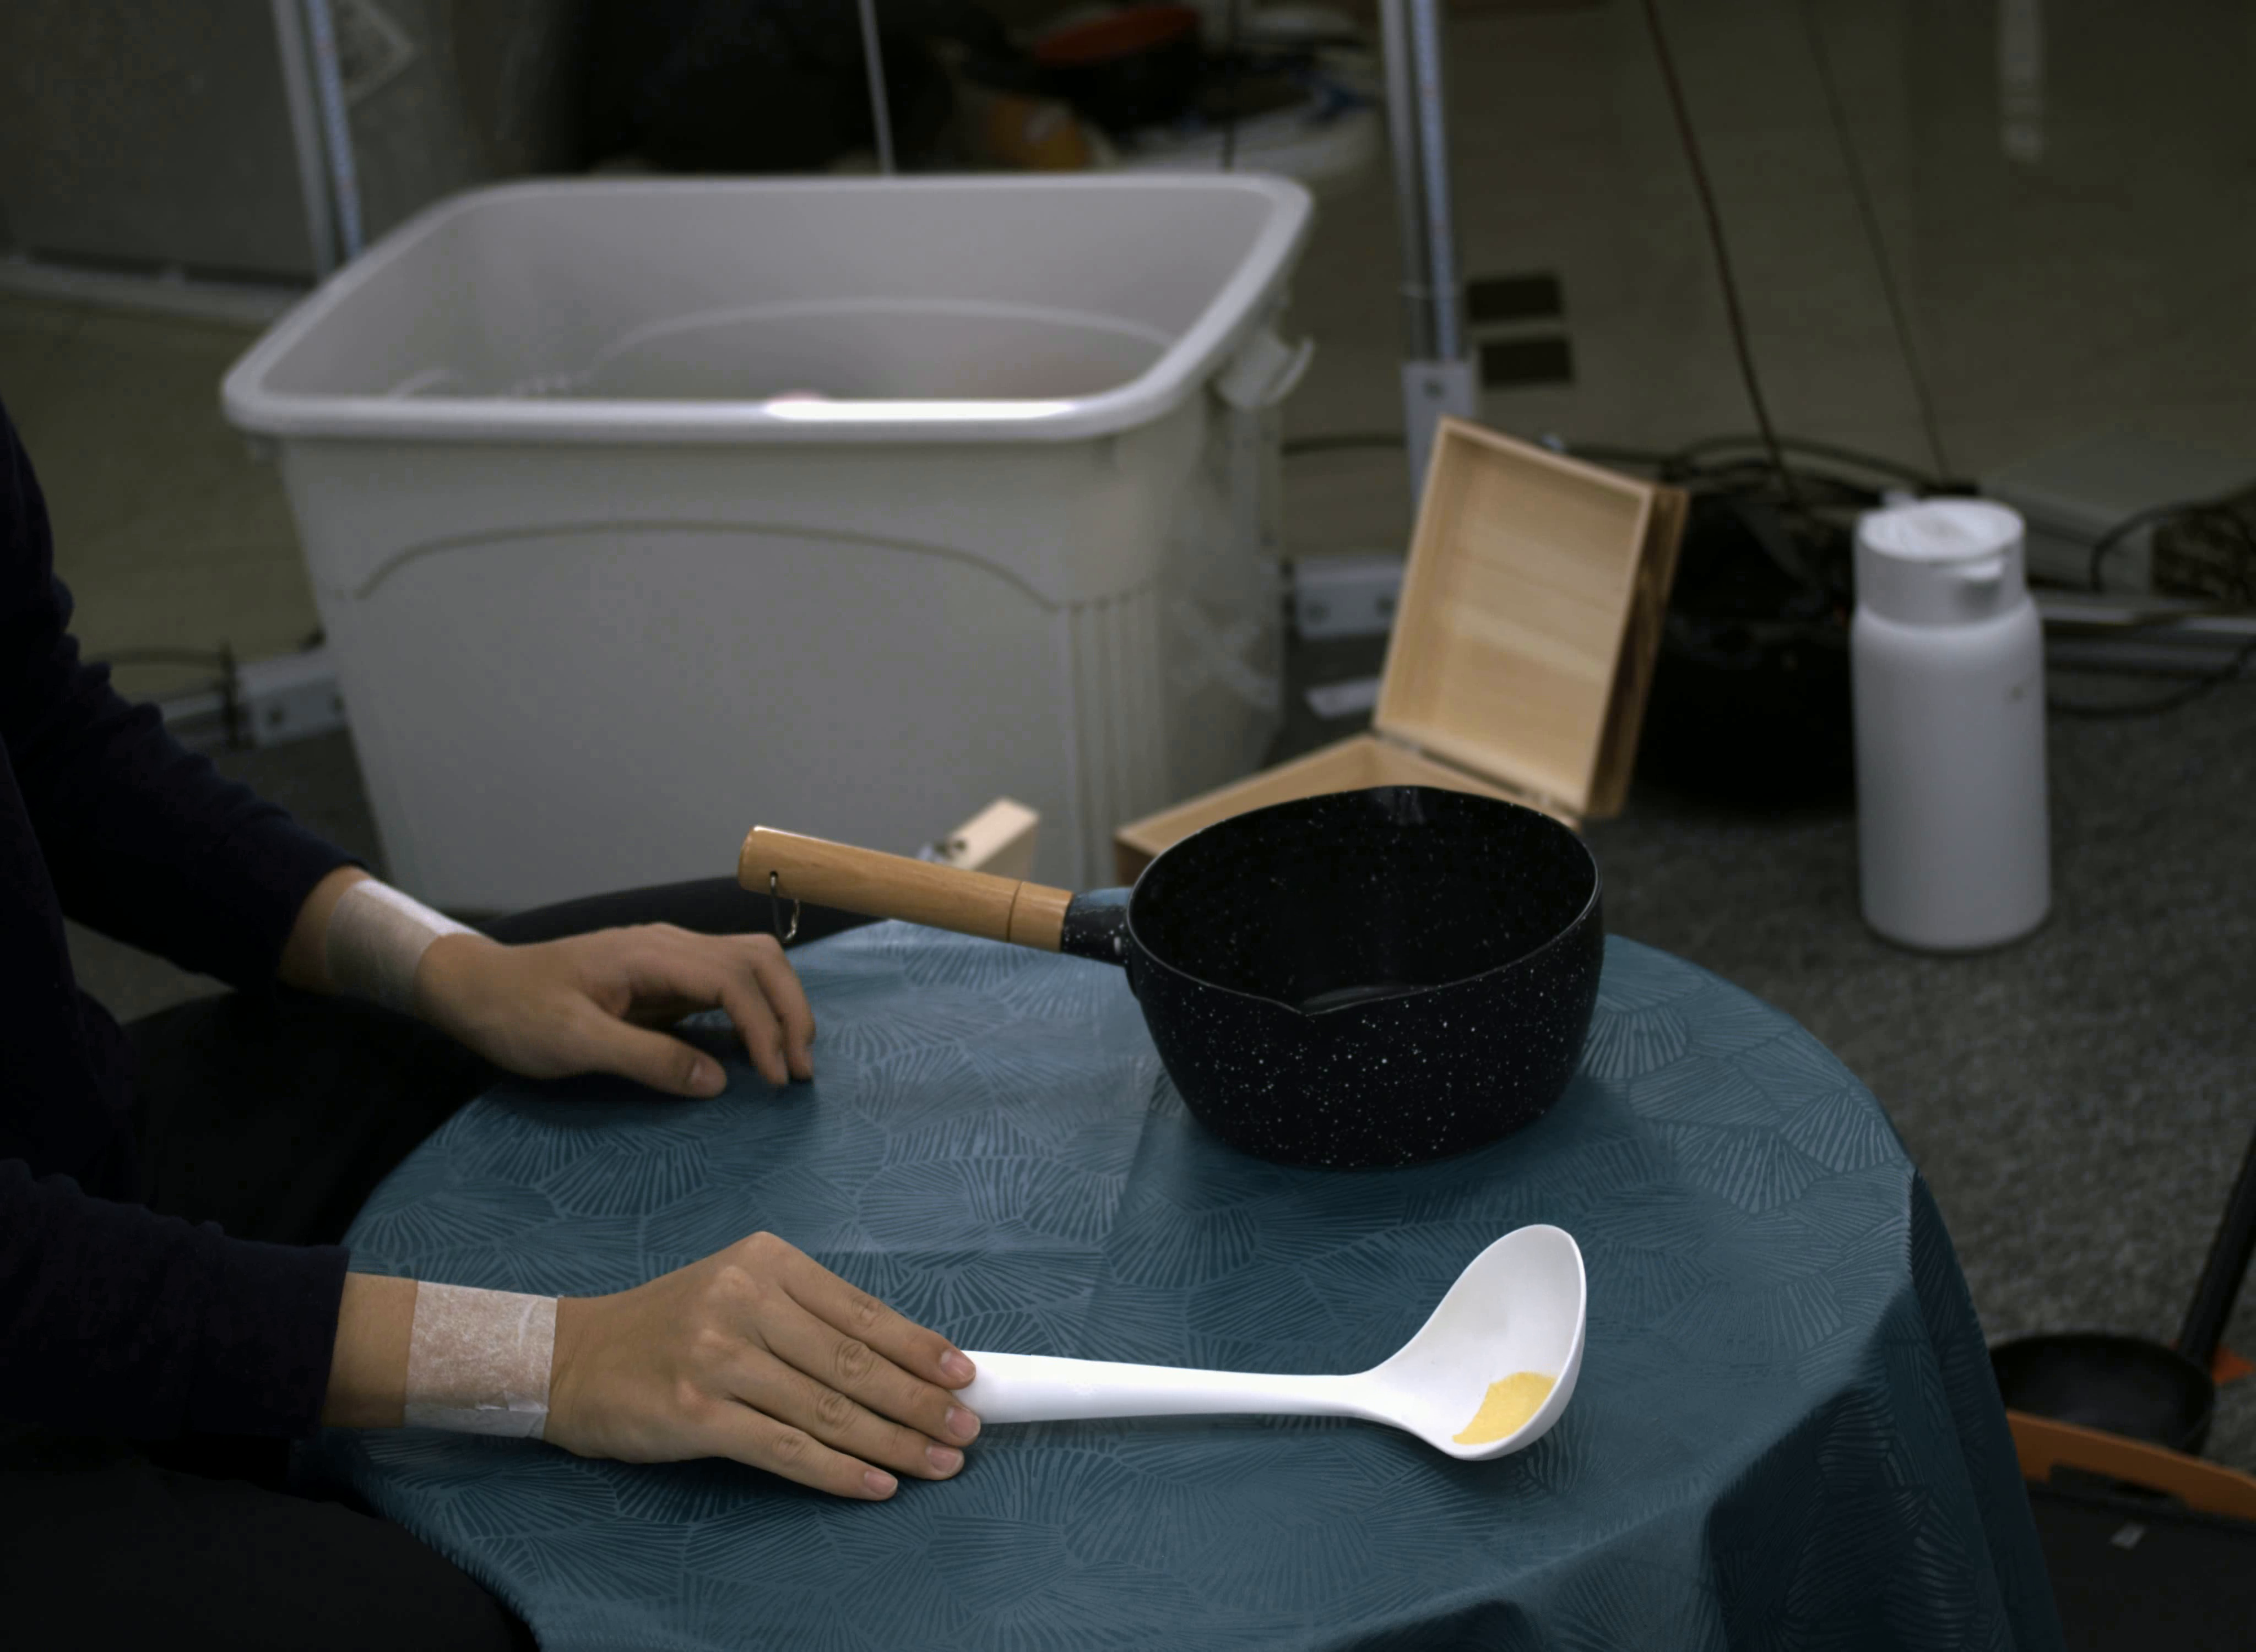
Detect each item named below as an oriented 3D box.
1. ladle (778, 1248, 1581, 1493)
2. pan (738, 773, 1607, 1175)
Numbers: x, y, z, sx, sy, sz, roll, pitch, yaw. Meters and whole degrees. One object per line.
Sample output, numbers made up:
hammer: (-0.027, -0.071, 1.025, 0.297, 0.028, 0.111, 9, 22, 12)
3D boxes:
ladle: (0.016, 0.192, 1.966, 0.292, 0.071, 0.089, -1, 58, 13)
pan: (0.016, 0.052, 2.200, 0.342, 0.110, 0.204, 1, 27, 12)
